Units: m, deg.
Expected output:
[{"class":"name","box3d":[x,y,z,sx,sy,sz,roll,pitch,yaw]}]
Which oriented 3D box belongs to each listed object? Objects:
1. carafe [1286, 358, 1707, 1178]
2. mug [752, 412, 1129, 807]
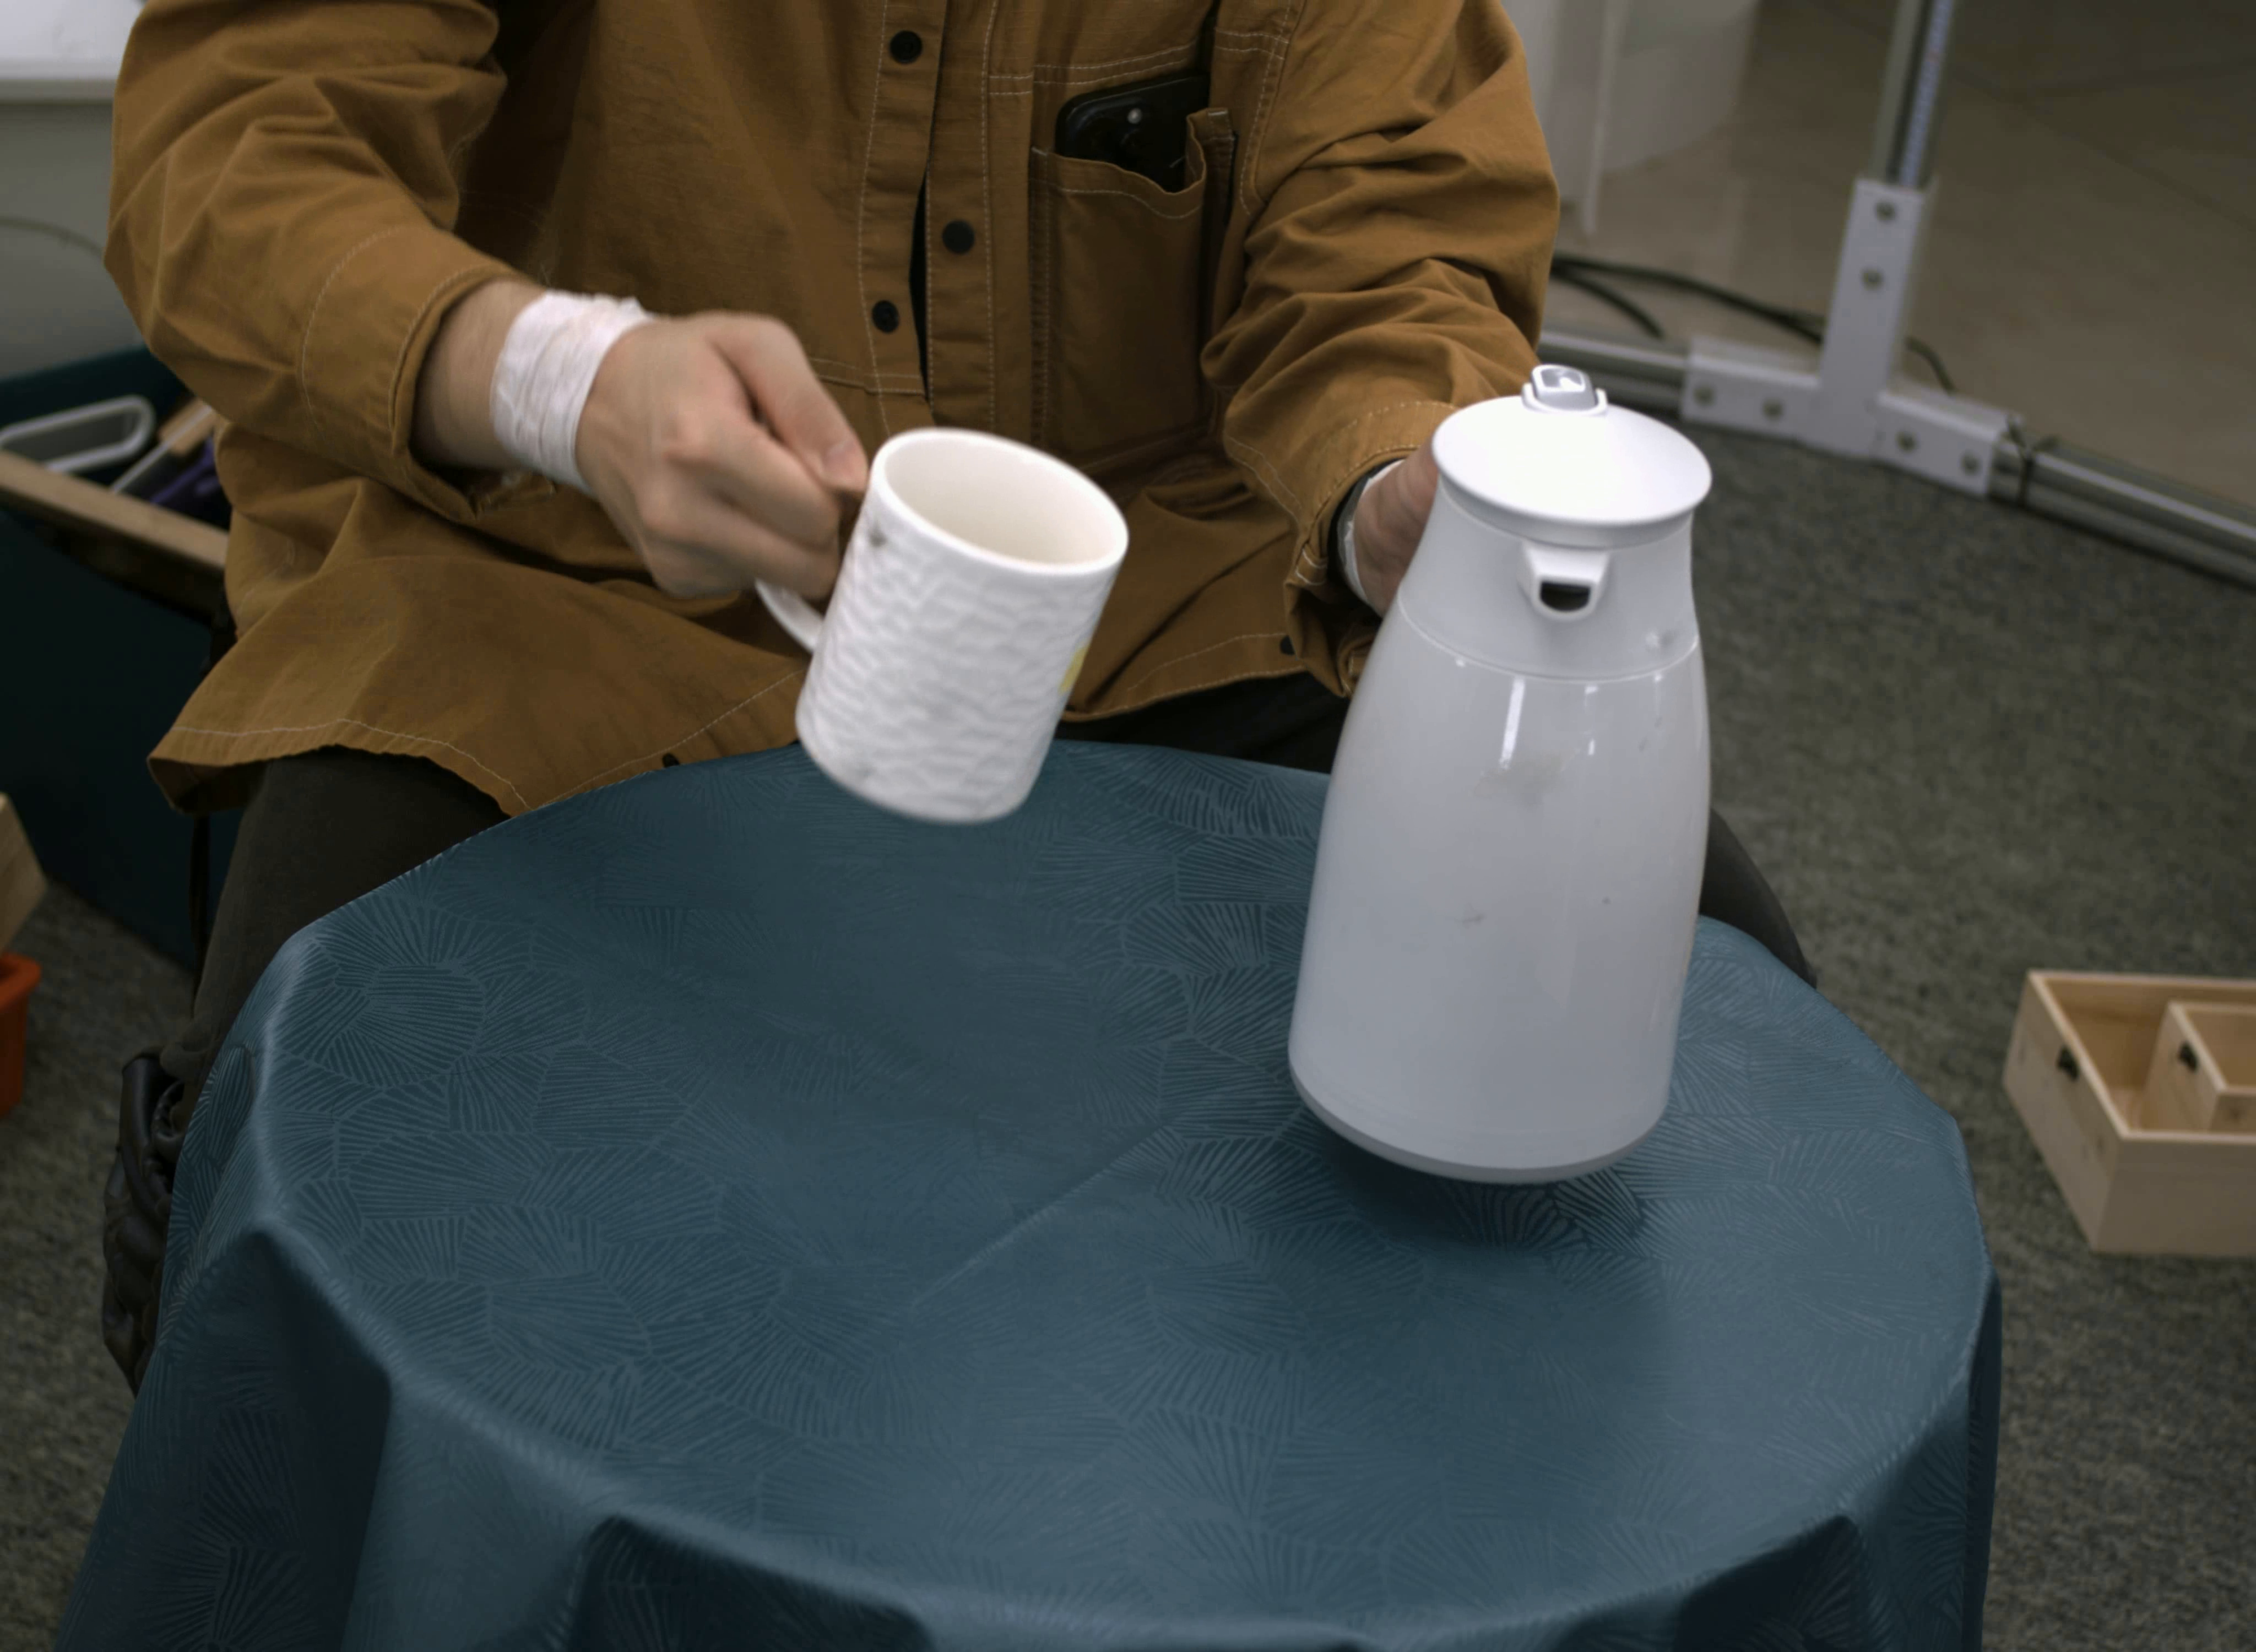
[{"class":"carafe","box3d":[0.130,-0.030,1.794,0.132,0.248,0.168,5,28,0]},{"class":"mug","box3d":[-0.070,-0.076,1.737,0.118,0.102,0.085,27,30,11]}]
